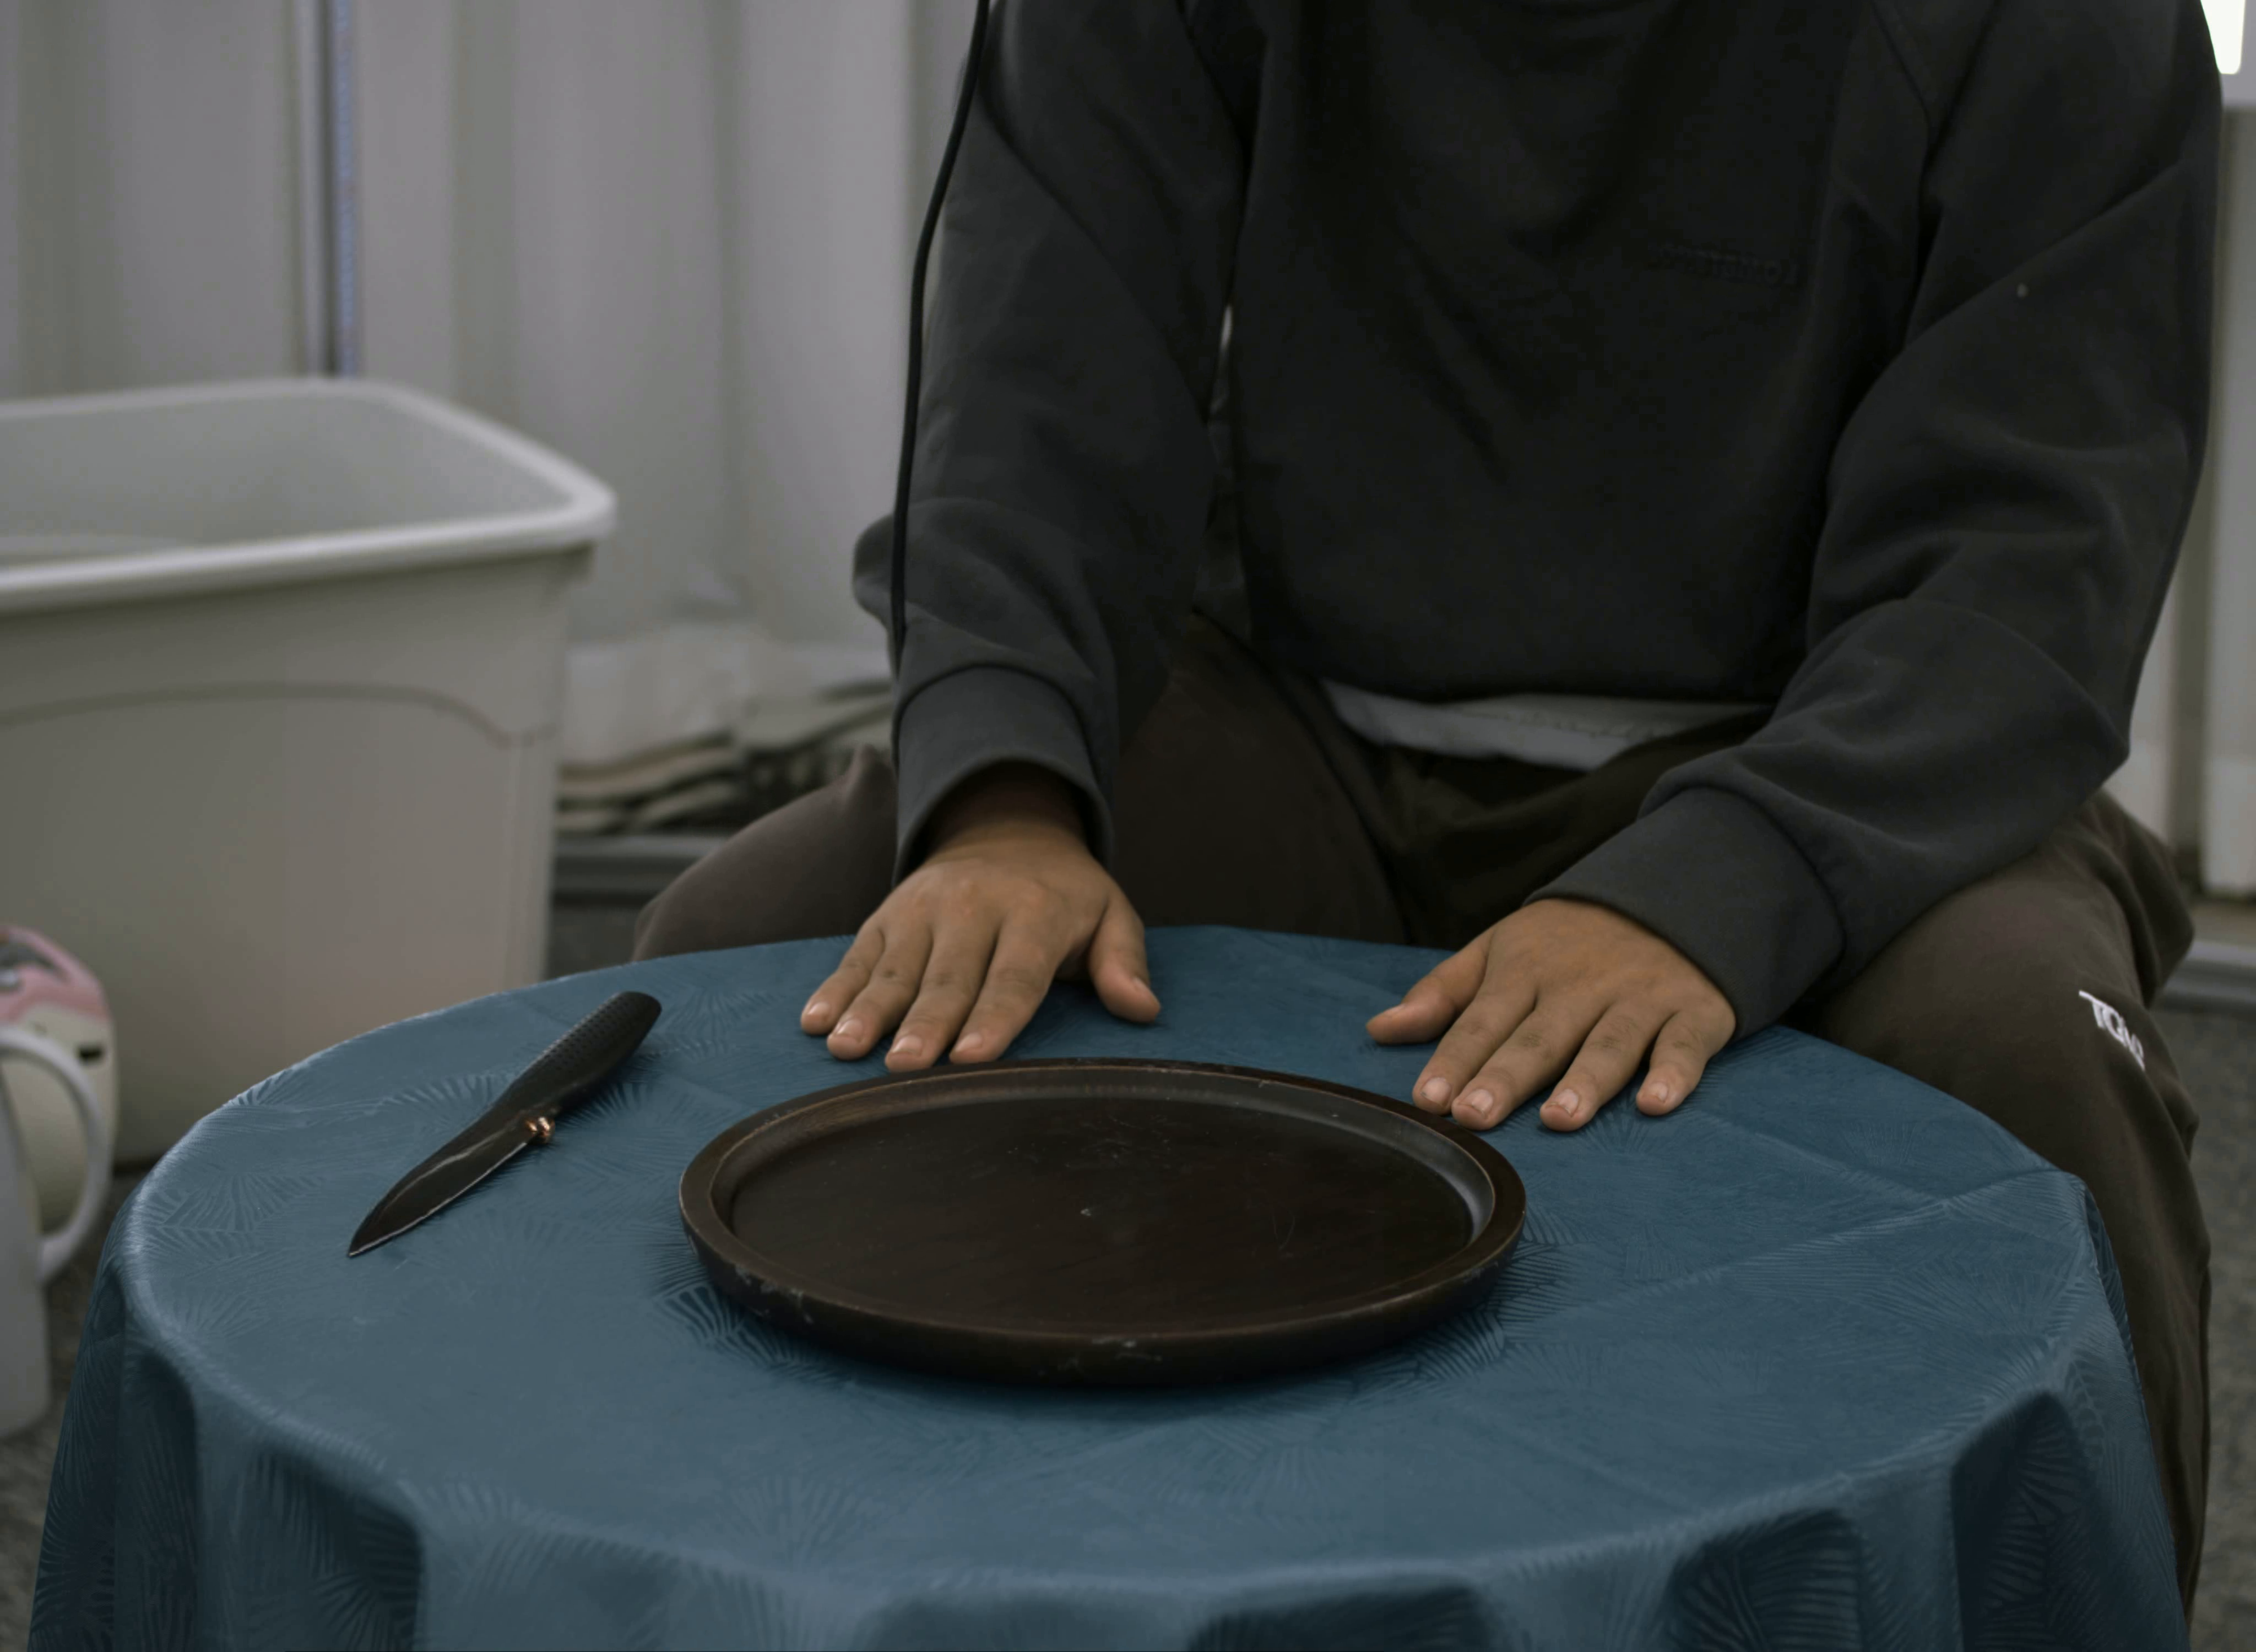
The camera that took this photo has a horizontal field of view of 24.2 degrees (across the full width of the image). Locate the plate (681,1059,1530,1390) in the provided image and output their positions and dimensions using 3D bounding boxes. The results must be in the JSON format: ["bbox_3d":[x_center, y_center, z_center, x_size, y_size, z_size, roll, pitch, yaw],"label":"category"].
[{"bbox_3d":[-0.007,0.116,1.570,0.254,0.029,0.253,0,14,1],"label":"plate"}]

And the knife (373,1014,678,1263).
[{"bbox_3d":[-0.191,0.097,1.654,0.026,0.017,0.225,11,18,16],"label":"knife"}]
